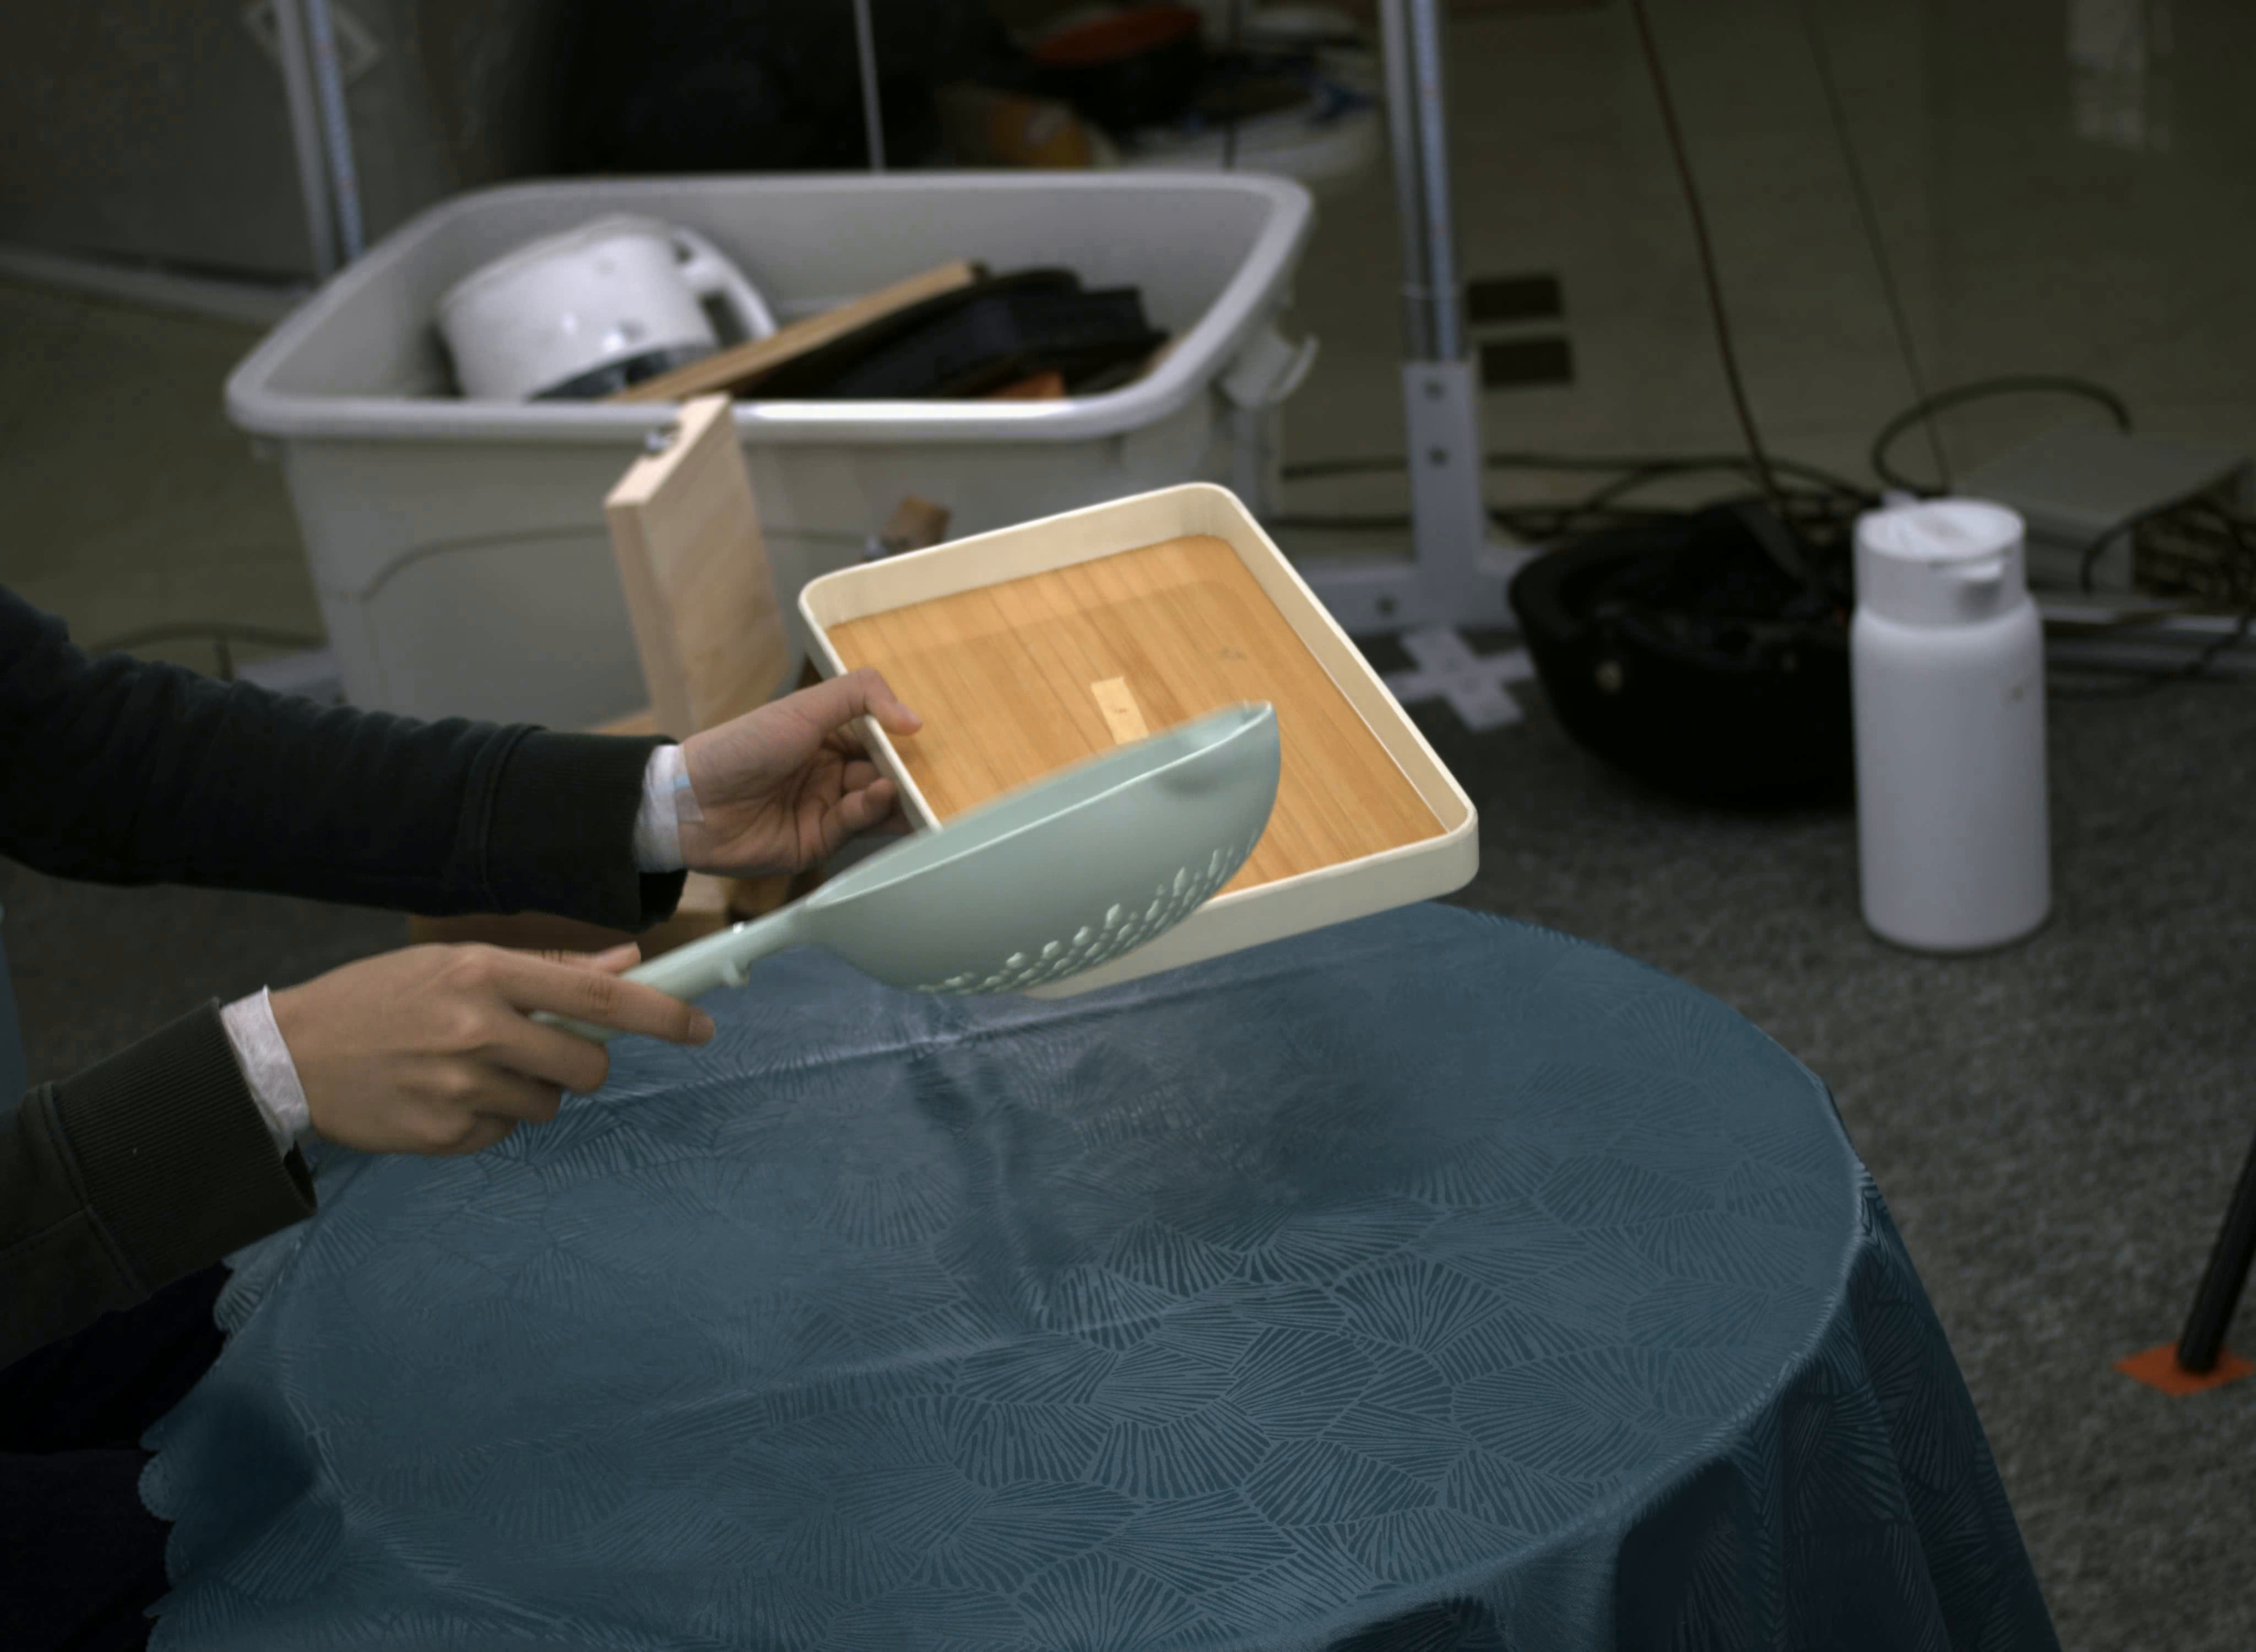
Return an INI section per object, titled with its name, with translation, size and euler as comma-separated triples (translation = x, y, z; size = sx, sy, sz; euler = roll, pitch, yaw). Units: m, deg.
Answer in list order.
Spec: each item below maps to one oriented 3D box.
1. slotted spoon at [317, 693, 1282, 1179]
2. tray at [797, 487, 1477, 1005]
[slotted spoon]
translation = -0.114, 0.039, 1.905
size = 0.358, 0.076, 0.168
euler = -15, 7, 7
[tray]
translation = -0.001, -0.037, 2.209
size = 0.191, 0.028, 0.295
euler = -15, 34, -13
